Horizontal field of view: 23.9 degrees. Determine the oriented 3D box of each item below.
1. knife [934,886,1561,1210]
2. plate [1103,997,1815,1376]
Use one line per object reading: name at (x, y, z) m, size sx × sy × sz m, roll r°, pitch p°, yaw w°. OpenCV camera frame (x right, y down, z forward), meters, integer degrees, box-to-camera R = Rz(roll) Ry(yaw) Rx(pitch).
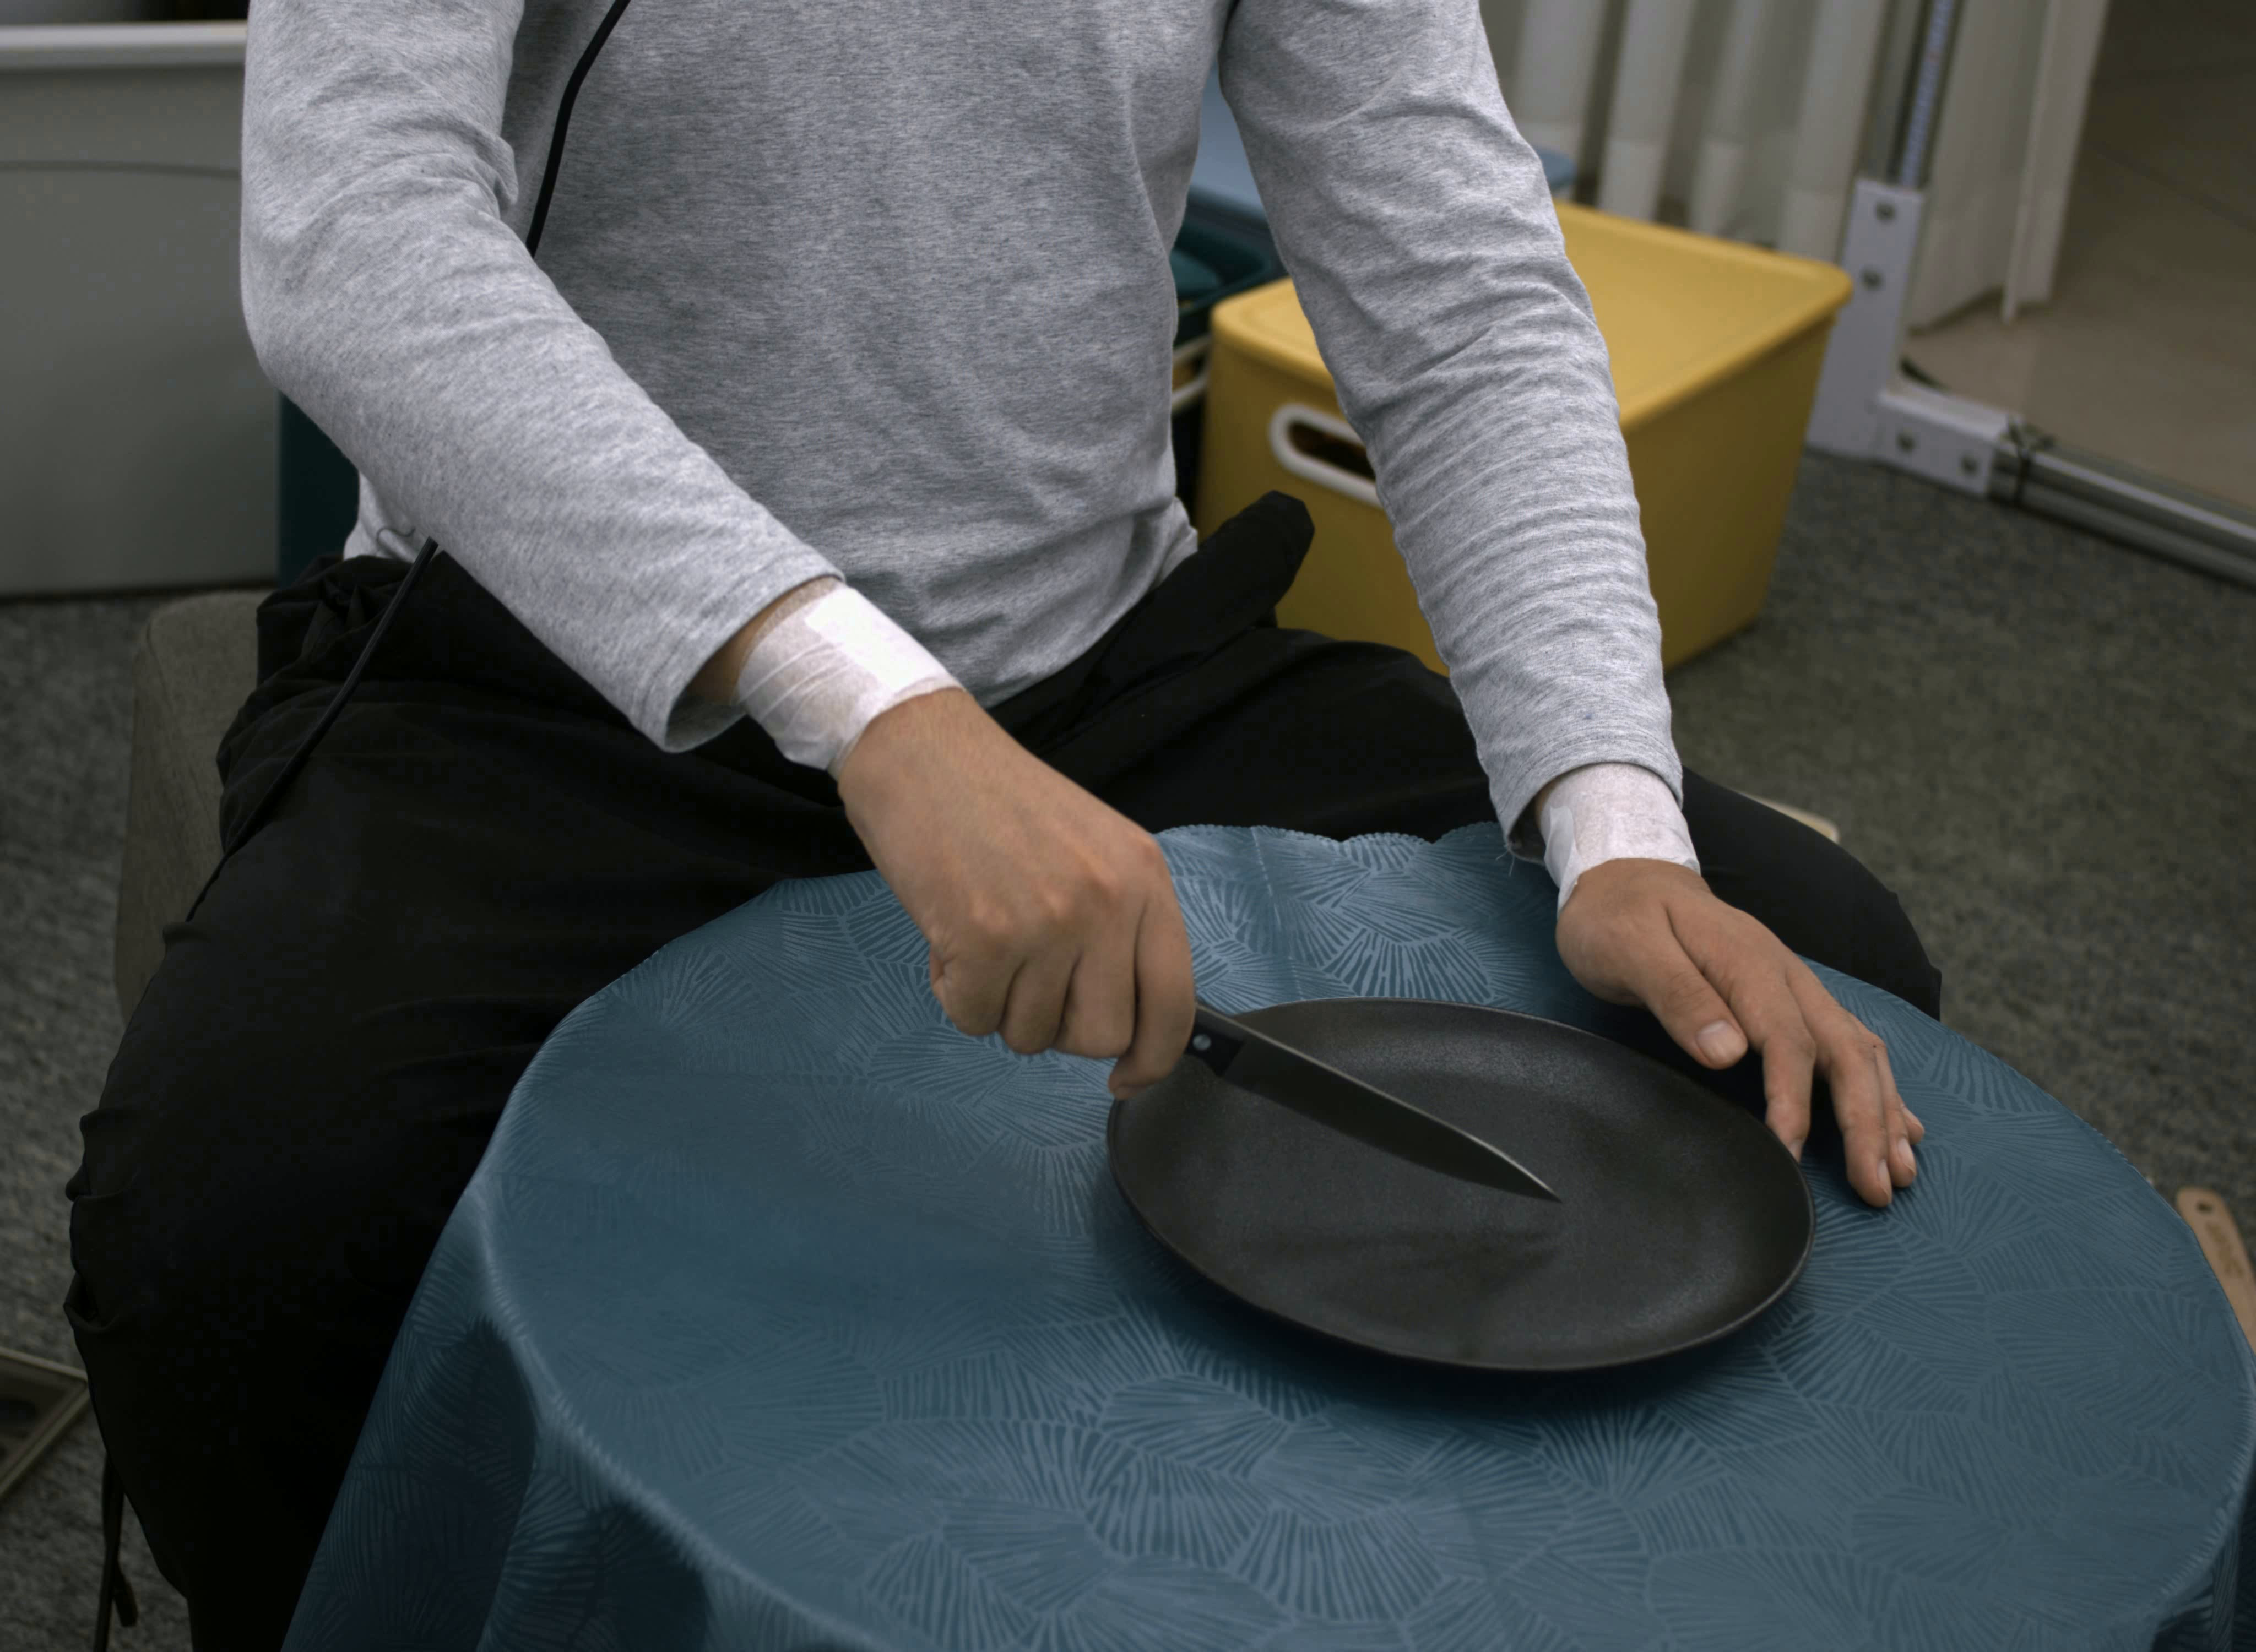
knife at (0.044, 0.075, 1.769) m, size 0.237 × 0.024 × 0.016 m, roll 26°, pitch 25°, yaw -12°
plate at (0.111, 0.126, 1.802) m, size 0.243 × 0.023 × 0.246 m, roll 5°, pitch 27°, yaw -3°
